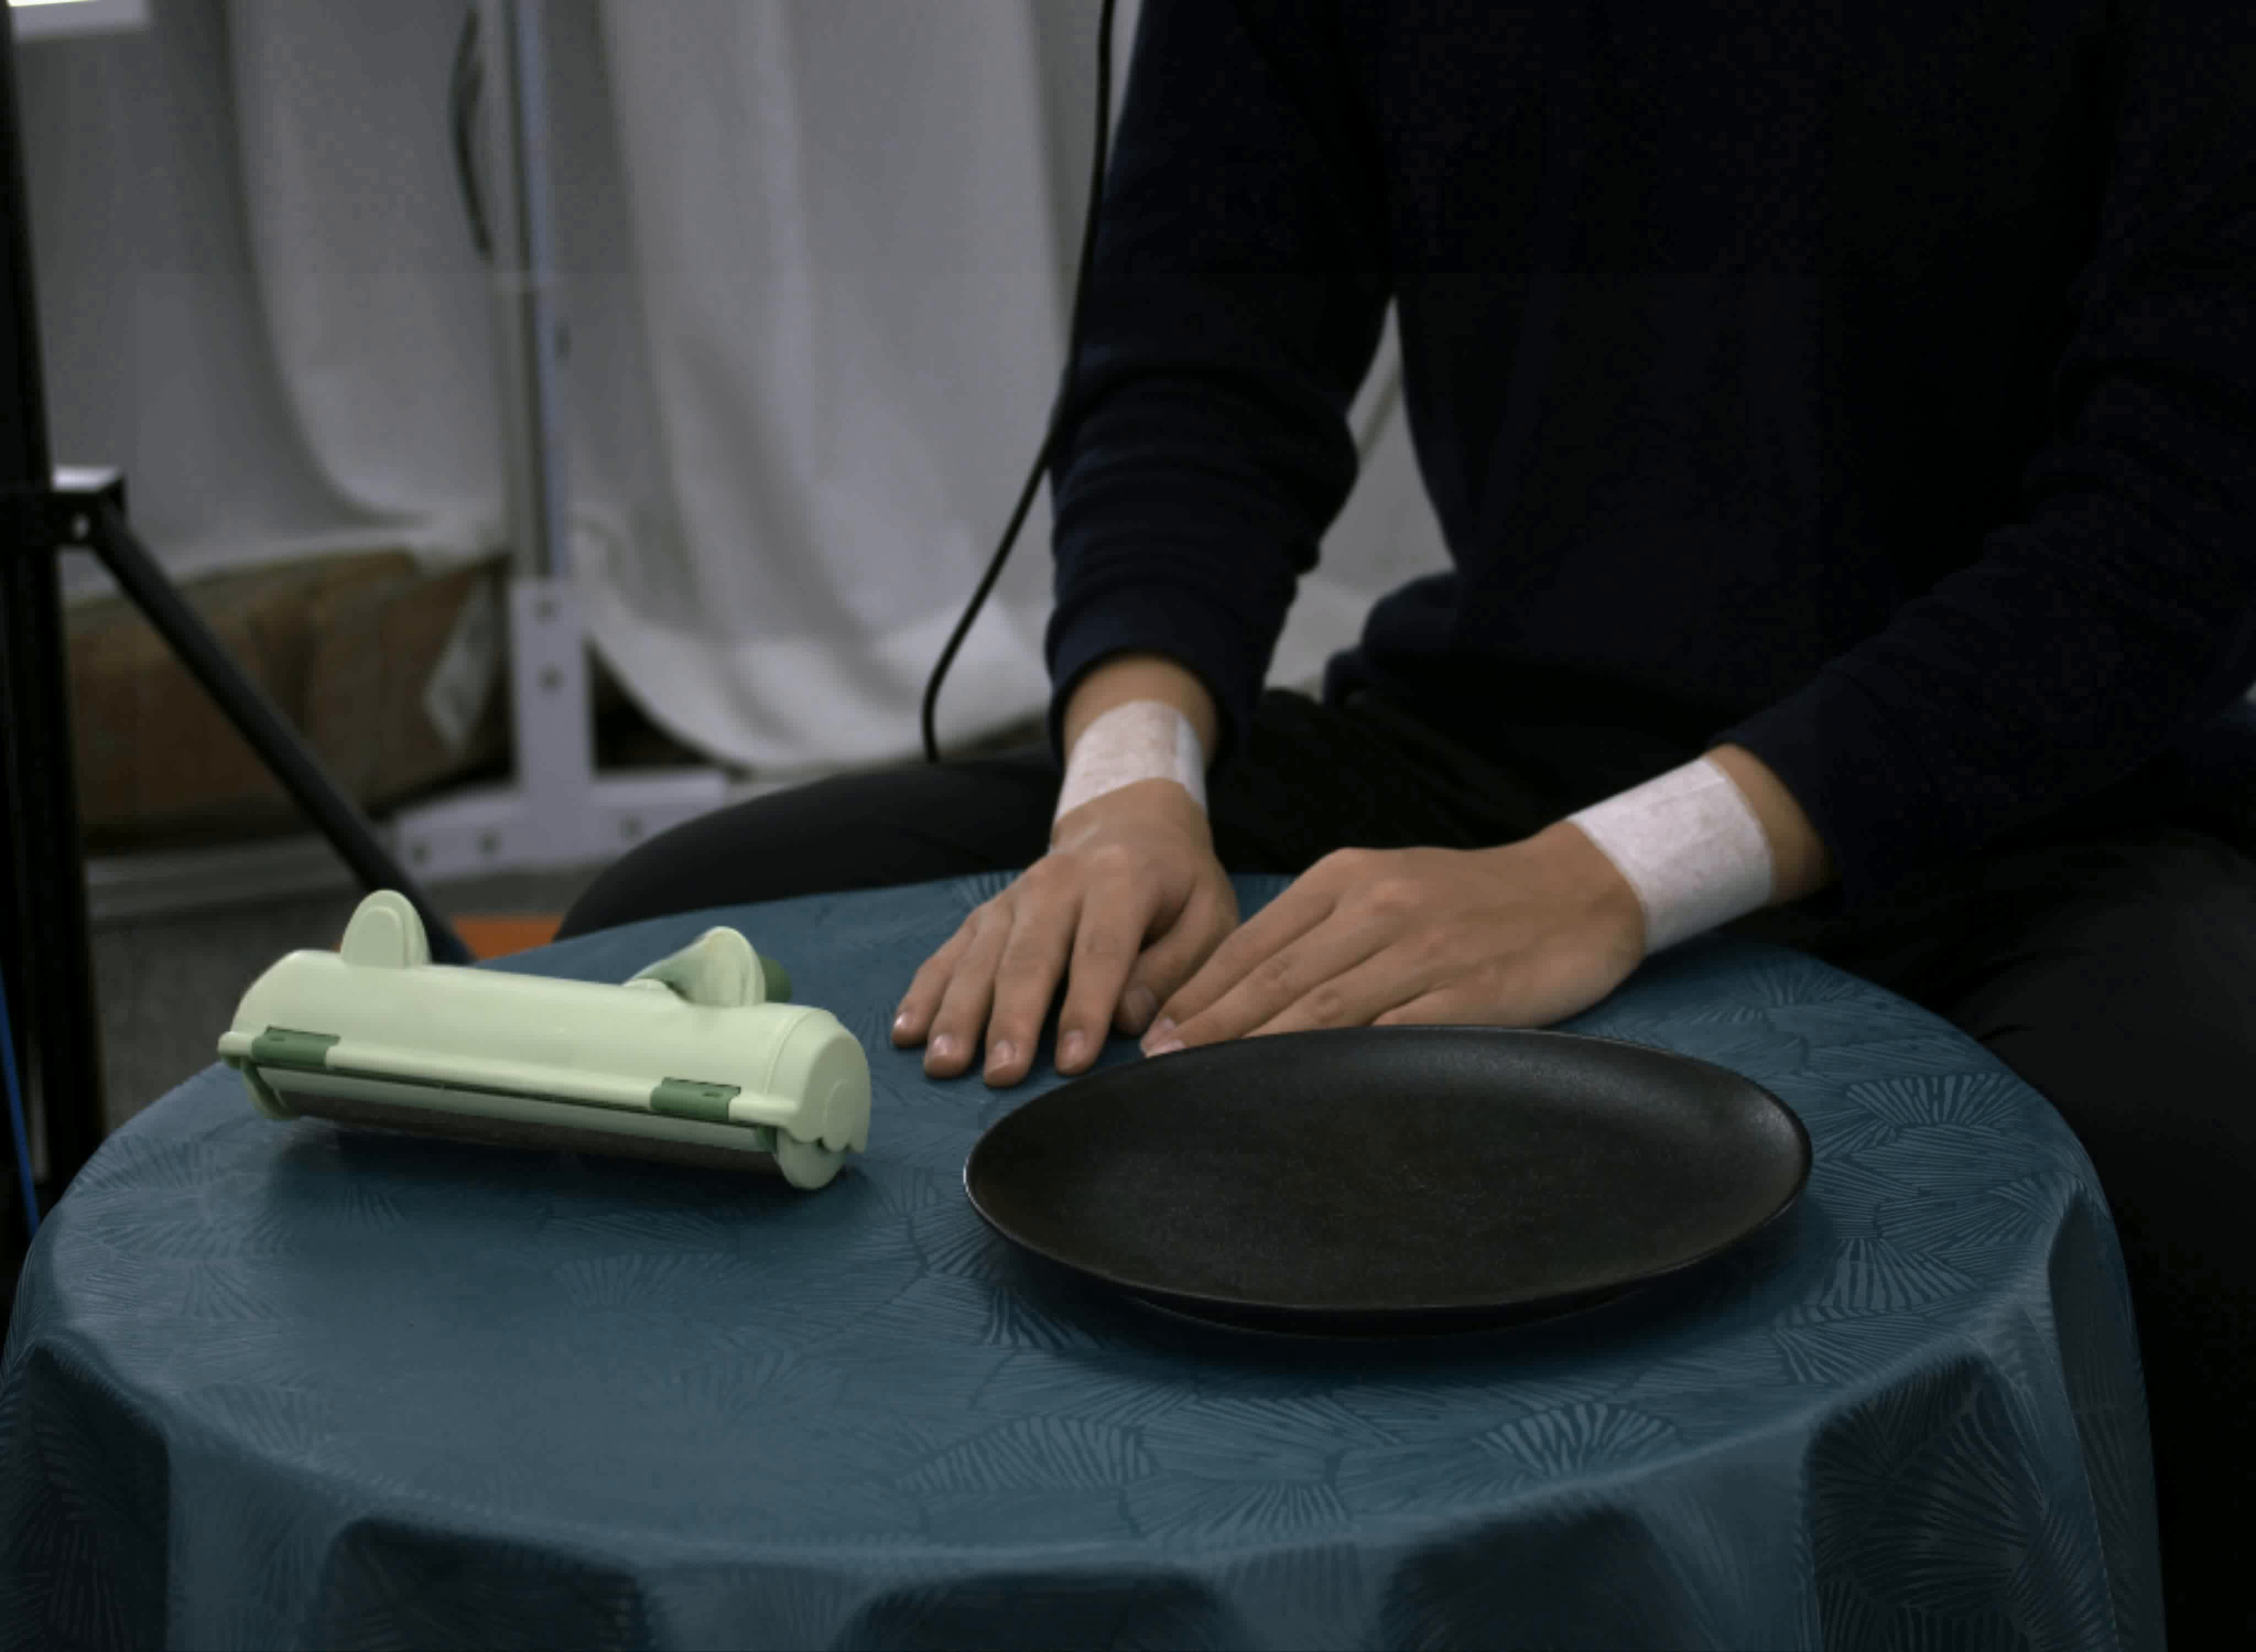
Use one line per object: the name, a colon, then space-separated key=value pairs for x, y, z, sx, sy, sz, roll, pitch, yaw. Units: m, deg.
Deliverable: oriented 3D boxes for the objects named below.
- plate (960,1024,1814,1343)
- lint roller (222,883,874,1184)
plate: x=0.074 y=0.105 z=1.514 sx=0.243 sy=0.023 sz=0.245 roll=-3 pitch=16 yaw=-1
lint roller: x=-0.153 y=0.044 z=1.651 sx=0.201 sy=0.082 sz=0.181 roll=6 pitch=24 yaw=24
